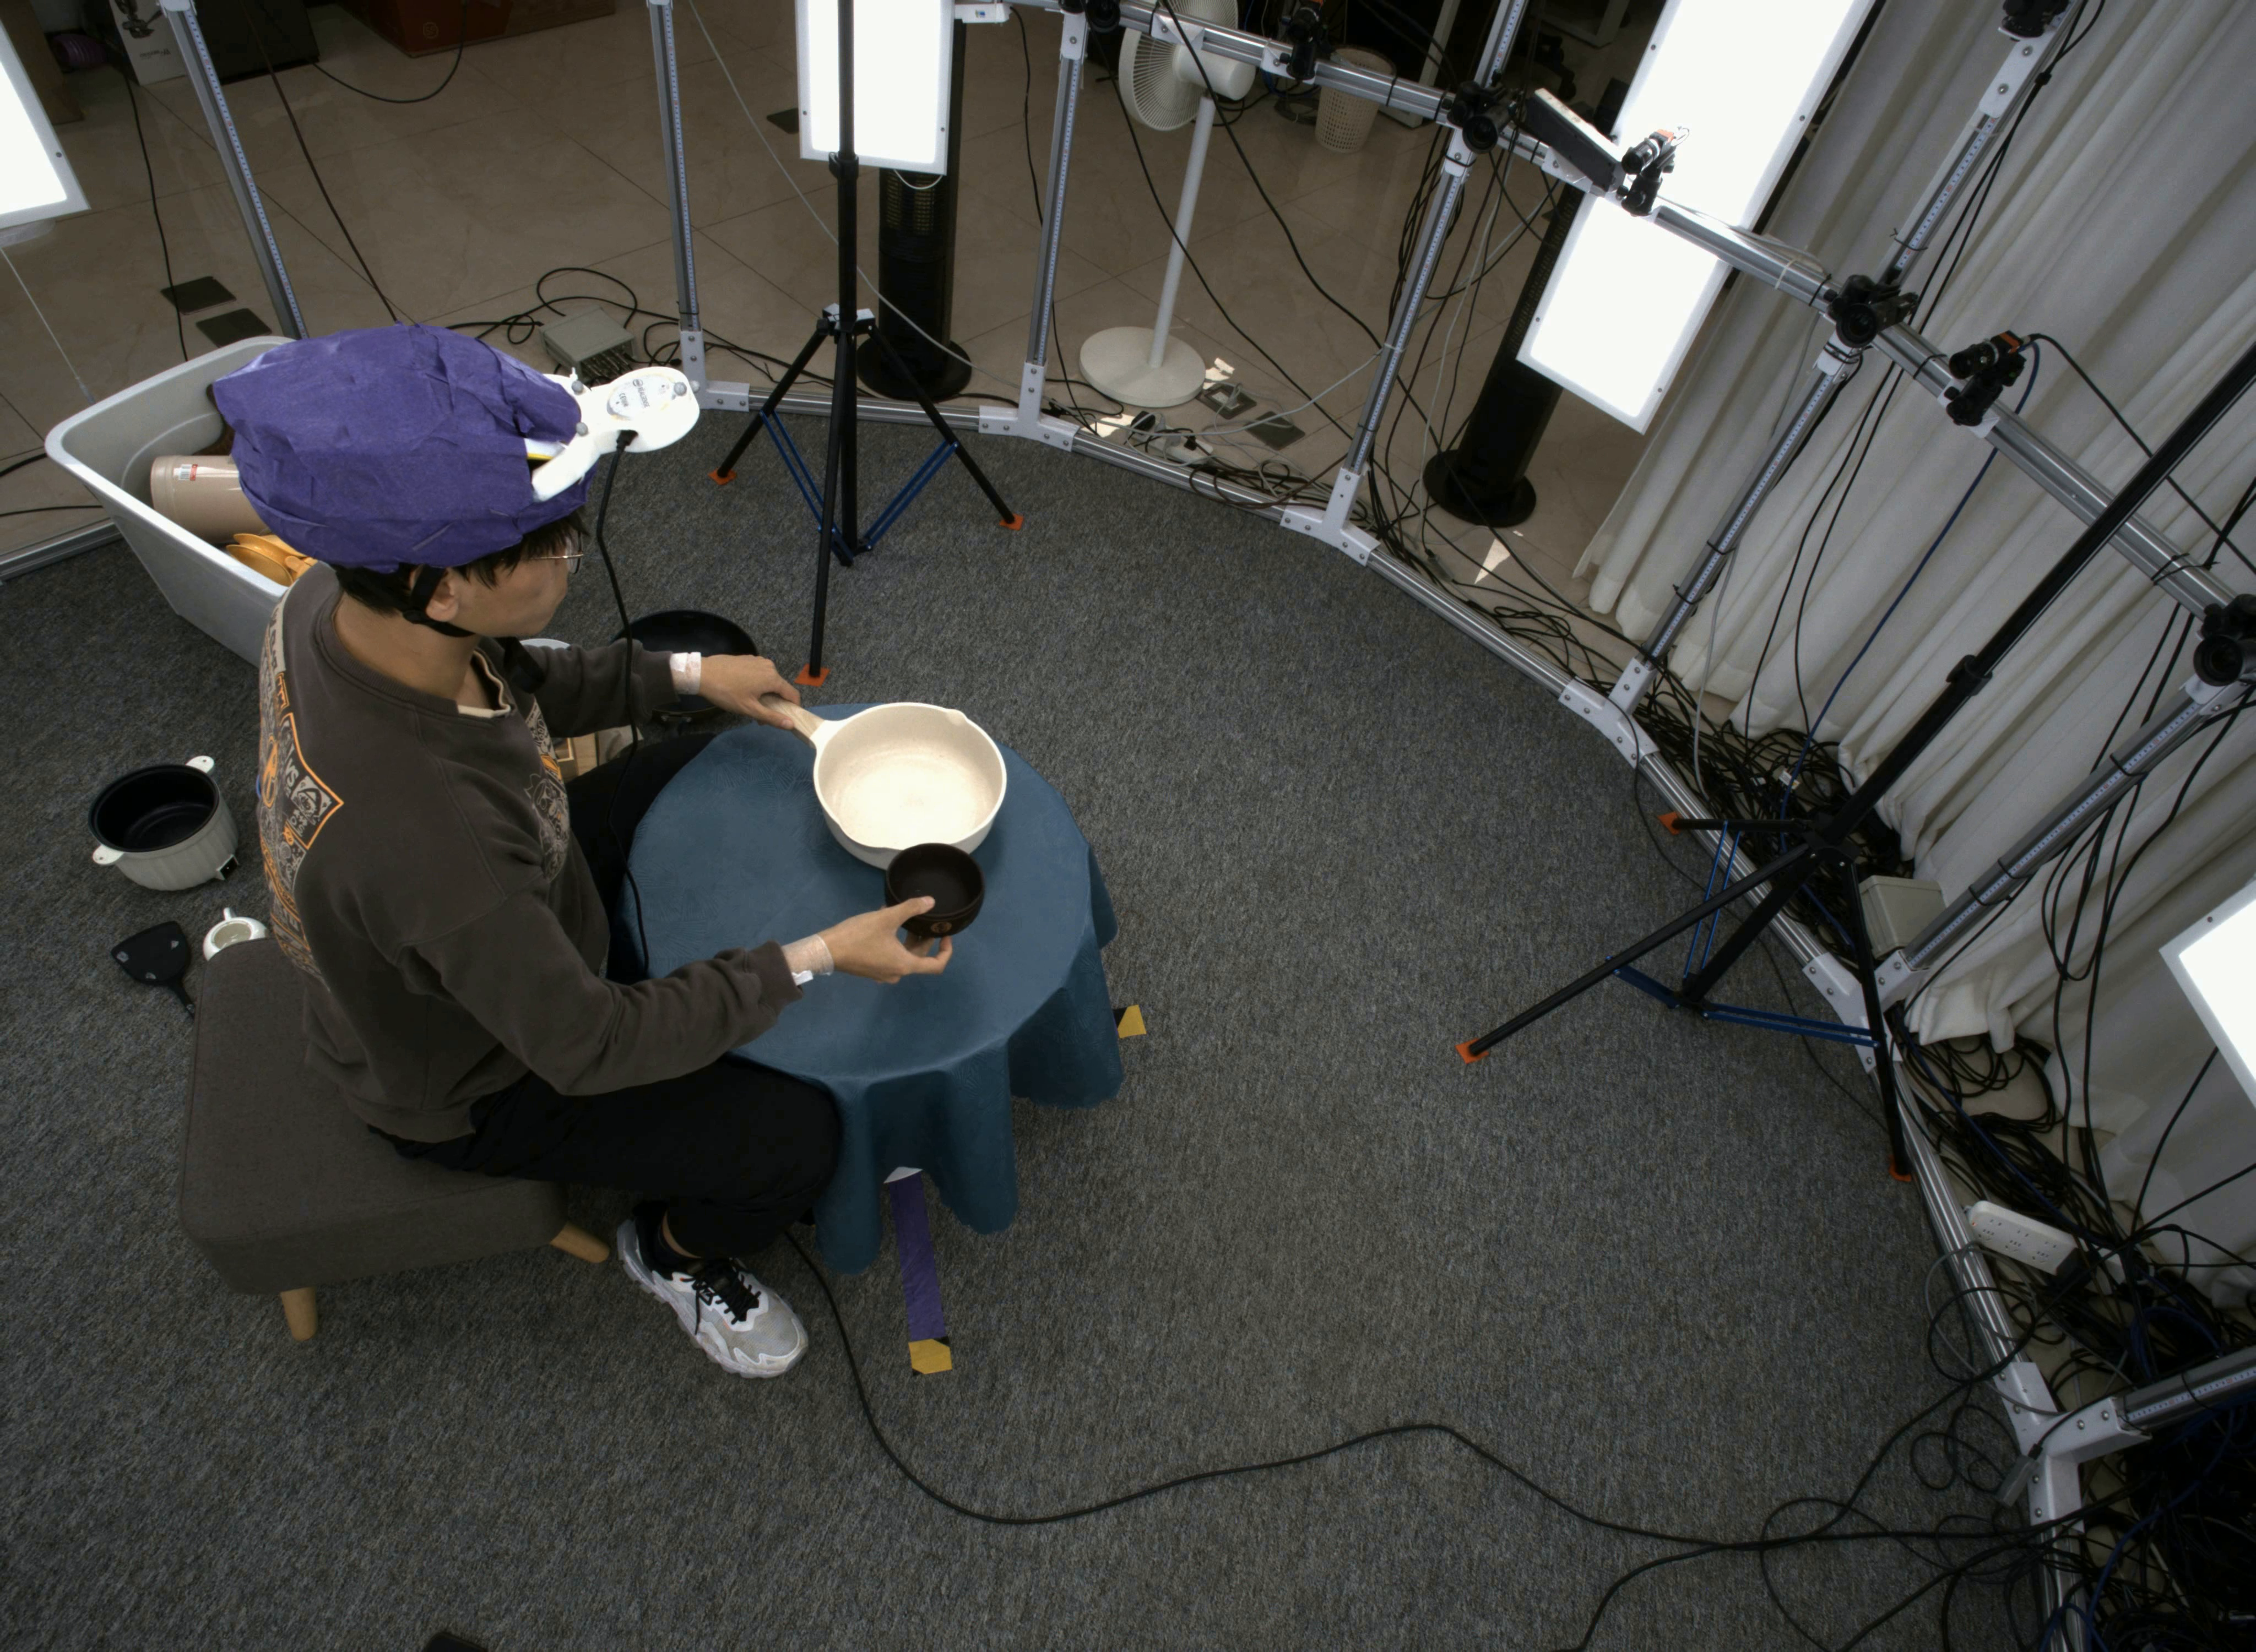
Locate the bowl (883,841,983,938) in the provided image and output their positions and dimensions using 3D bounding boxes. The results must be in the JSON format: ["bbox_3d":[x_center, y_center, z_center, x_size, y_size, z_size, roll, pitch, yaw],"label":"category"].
[{"bbox_3d":[-0.234,0.082,1.555,0.117,0.071,0.116,8,48,-7],"label":"bowl"}]

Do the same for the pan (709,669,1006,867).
[{"bbox_3d":[-0.373,-0.092,1.755,0.428,0.104,0.262,25,54,6],"label":"pan"}]
